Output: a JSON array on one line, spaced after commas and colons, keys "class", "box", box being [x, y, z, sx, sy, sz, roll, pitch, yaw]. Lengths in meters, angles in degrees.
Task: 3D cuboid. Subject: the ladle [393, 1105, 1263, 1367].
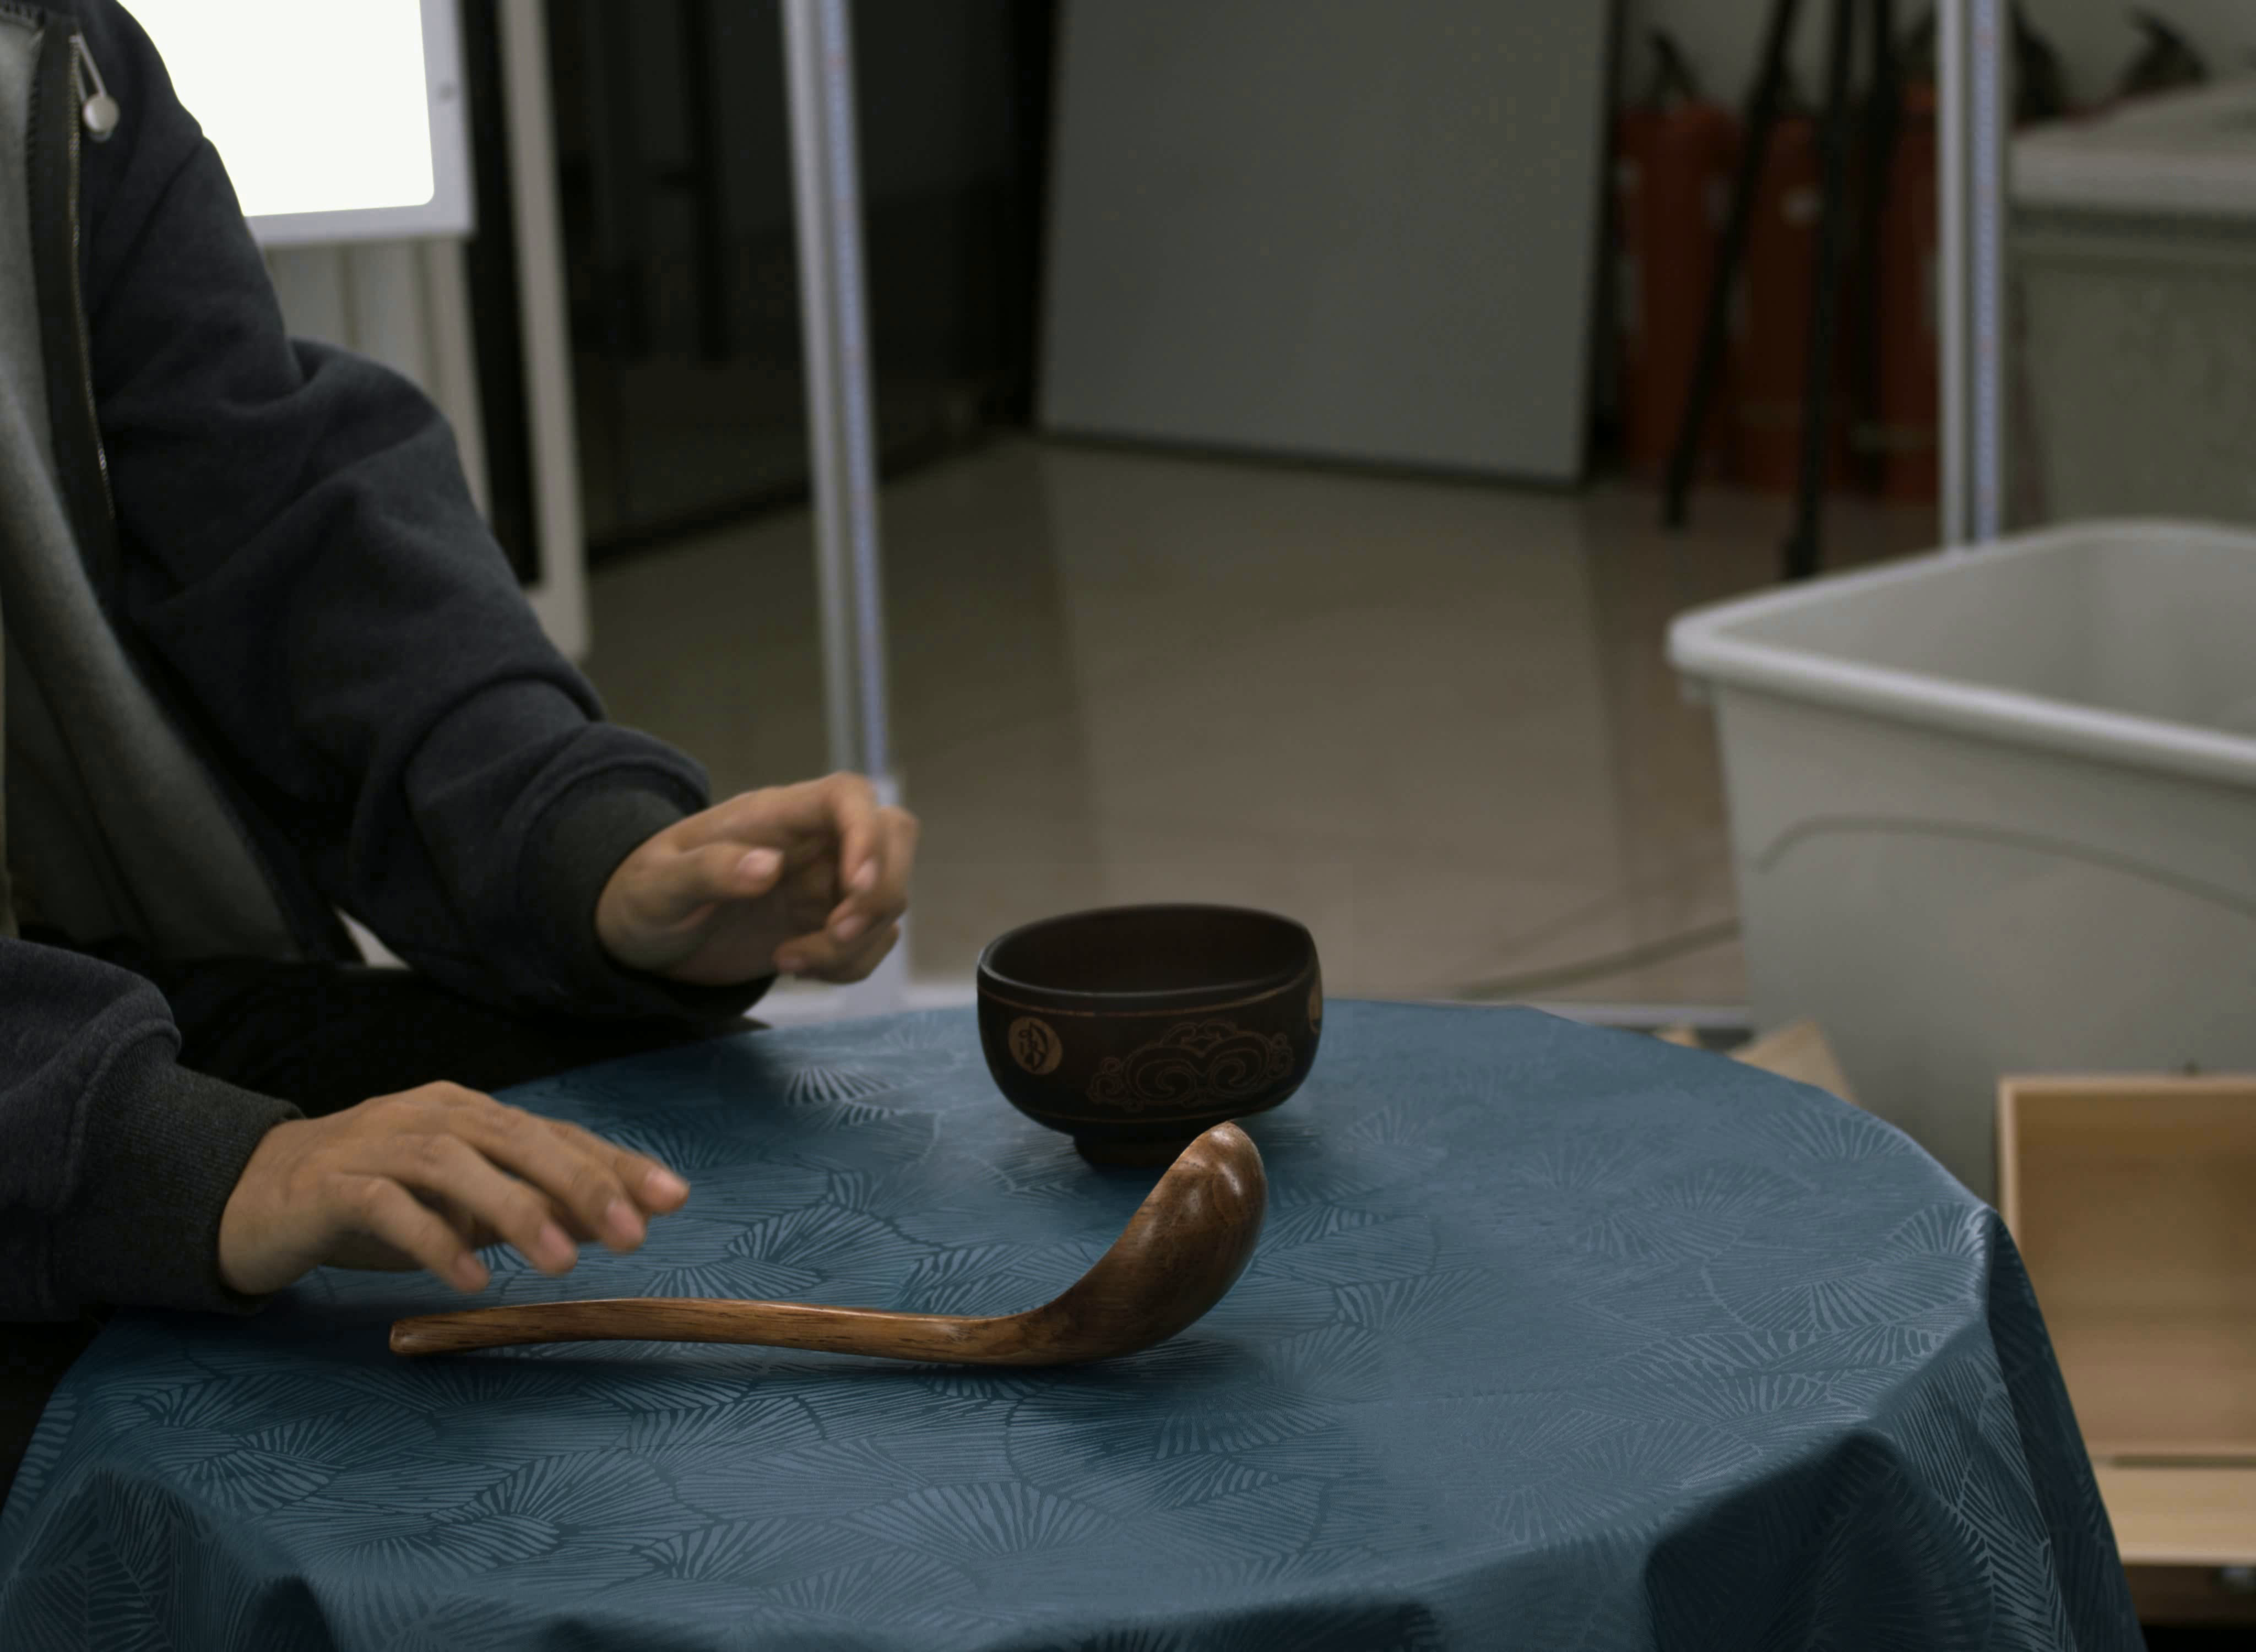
[{"class": "ladle", "box": [-0.092, 0.123, 1.622, 0.273, 0.077, 0.081, -1, -9, 16]}]

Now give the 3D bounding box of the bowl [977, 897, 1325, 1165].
[{"class": "bowl", "box": [0.009, 0.072, 1.810, 0.116, 0.070, 0.118, -4, 13, 0]}]
